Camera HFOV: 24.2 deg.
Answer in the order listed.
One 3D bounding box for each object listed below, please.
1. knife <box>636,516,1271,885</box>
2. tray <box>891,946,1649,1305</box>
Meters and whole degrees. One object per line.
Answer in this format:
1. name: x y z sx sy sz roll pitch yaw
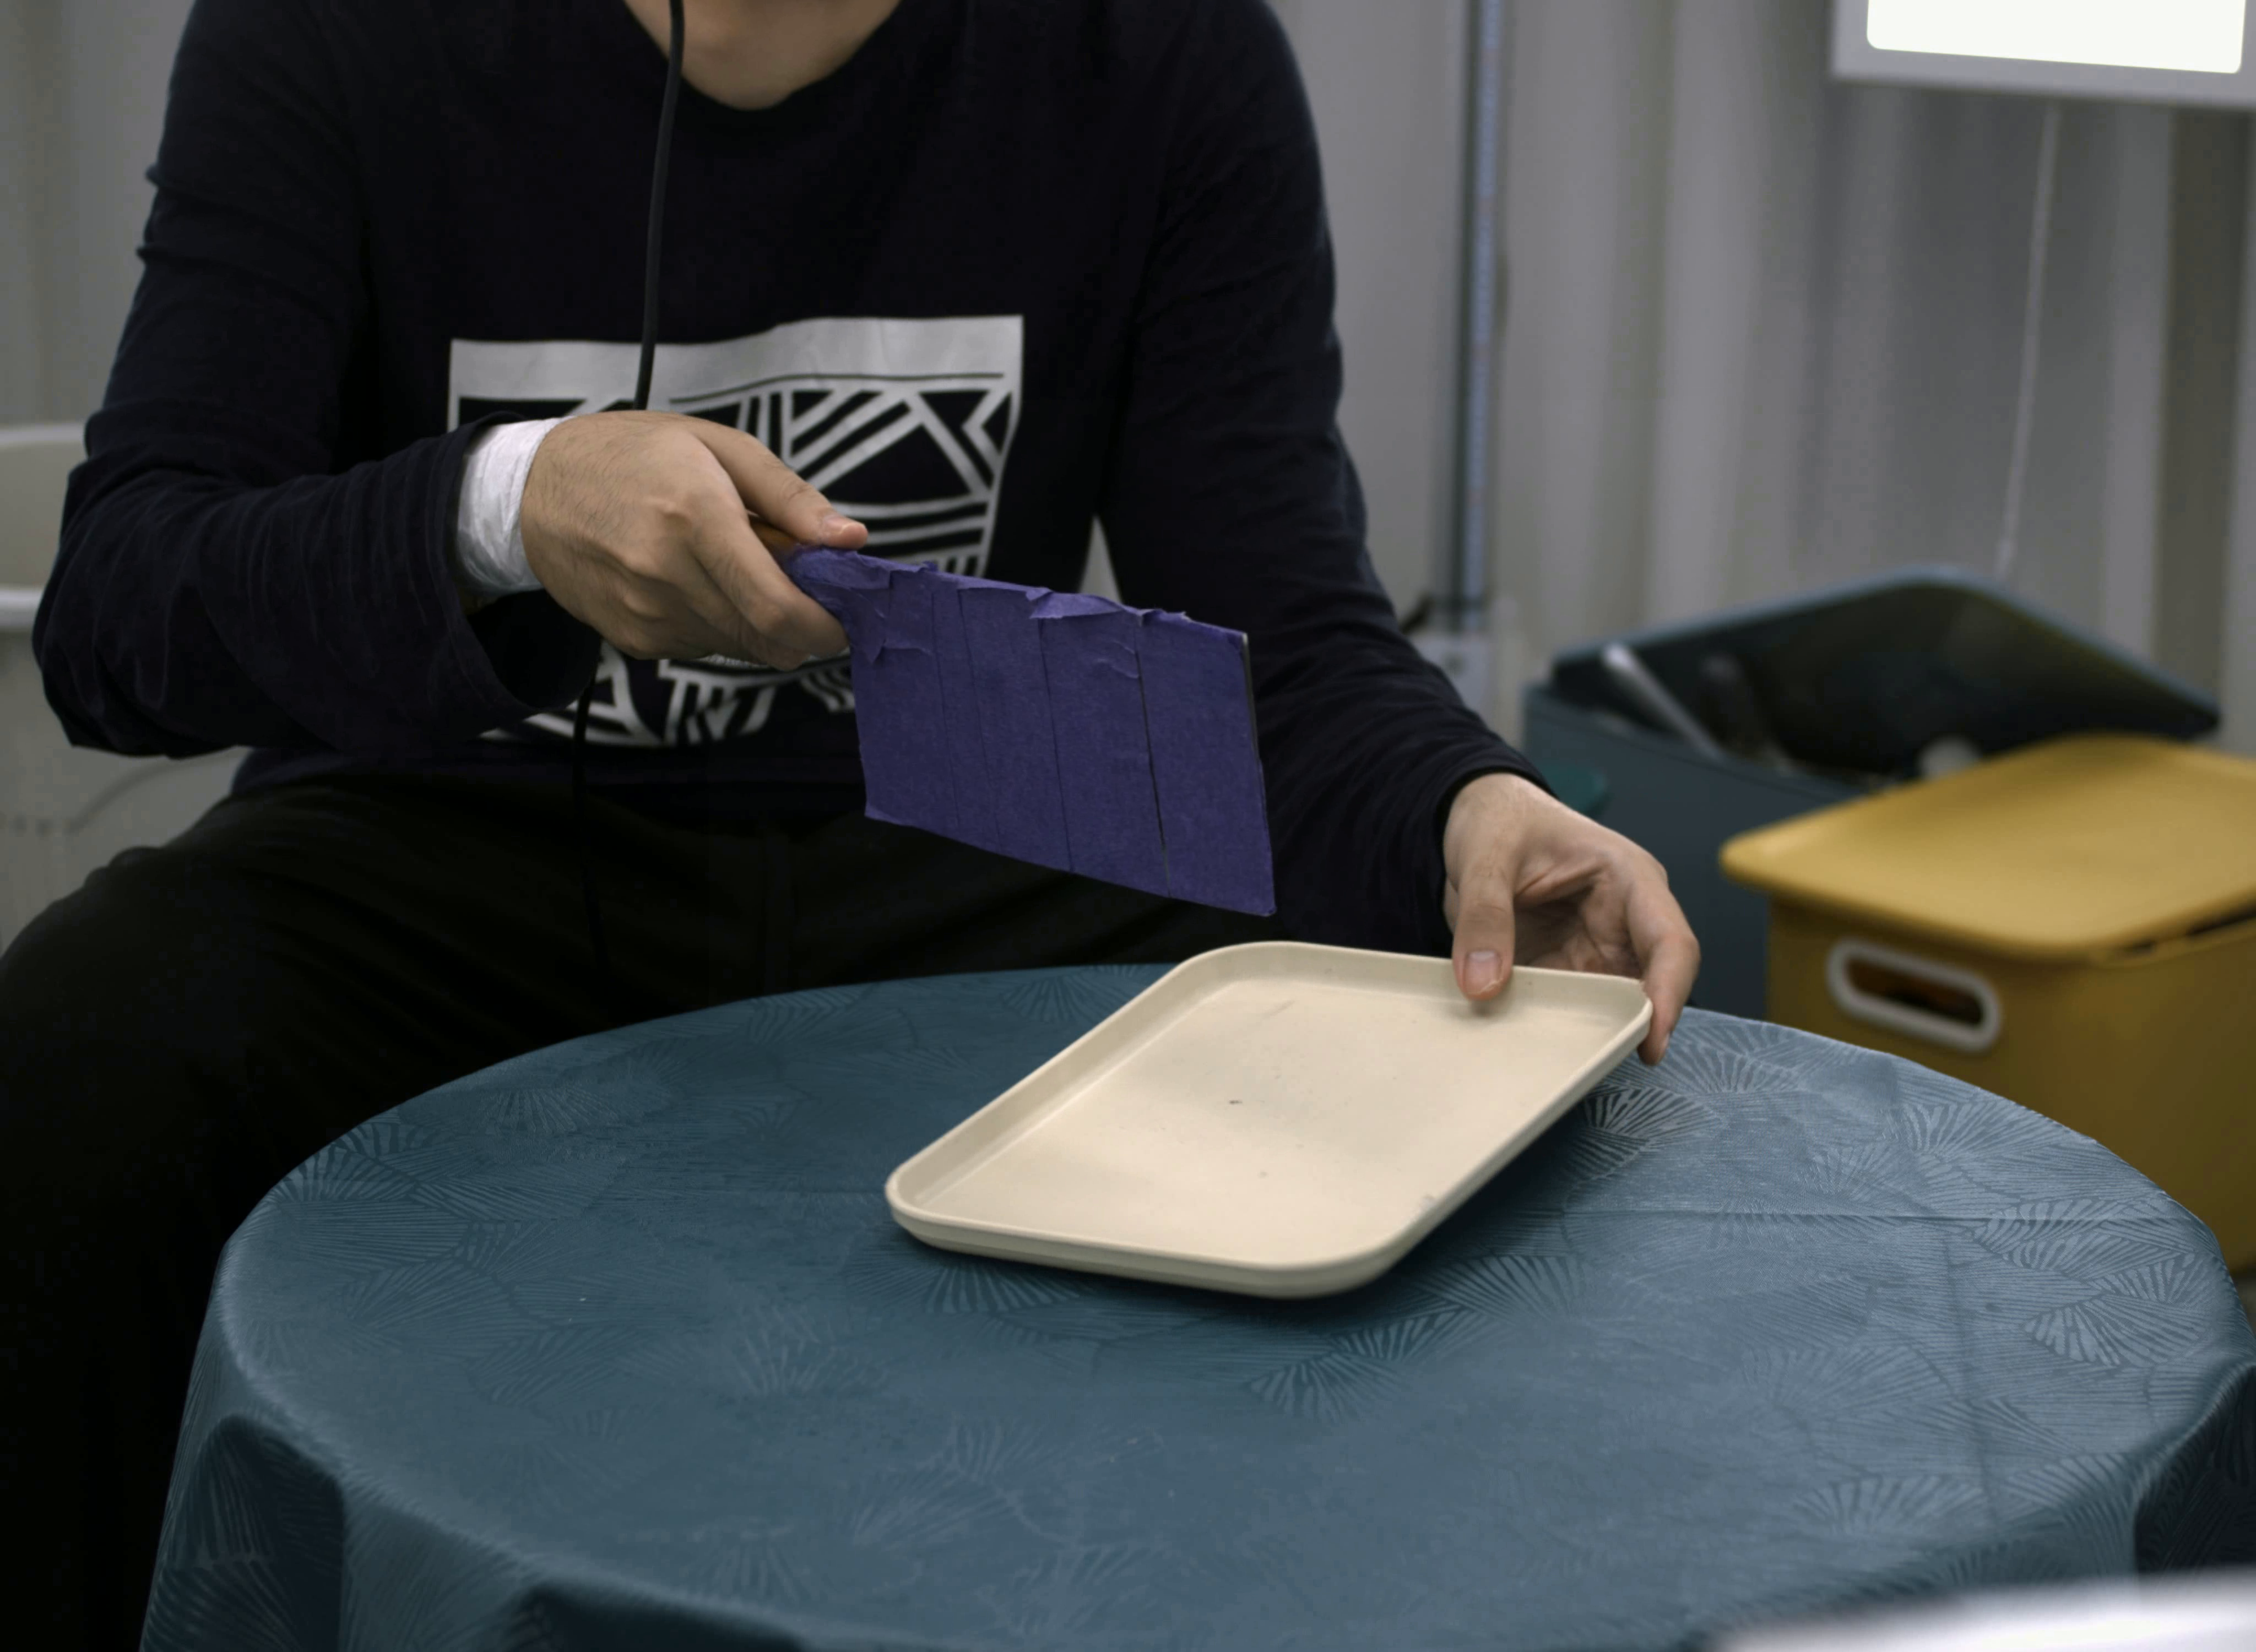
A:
1. knife: -0.060 -0.039 1.652 0.032 0.105 0.311 -16 18 -33
2. tray: 0.048 0.091 1.629 0.169 0.017 0.240 6 22 28
